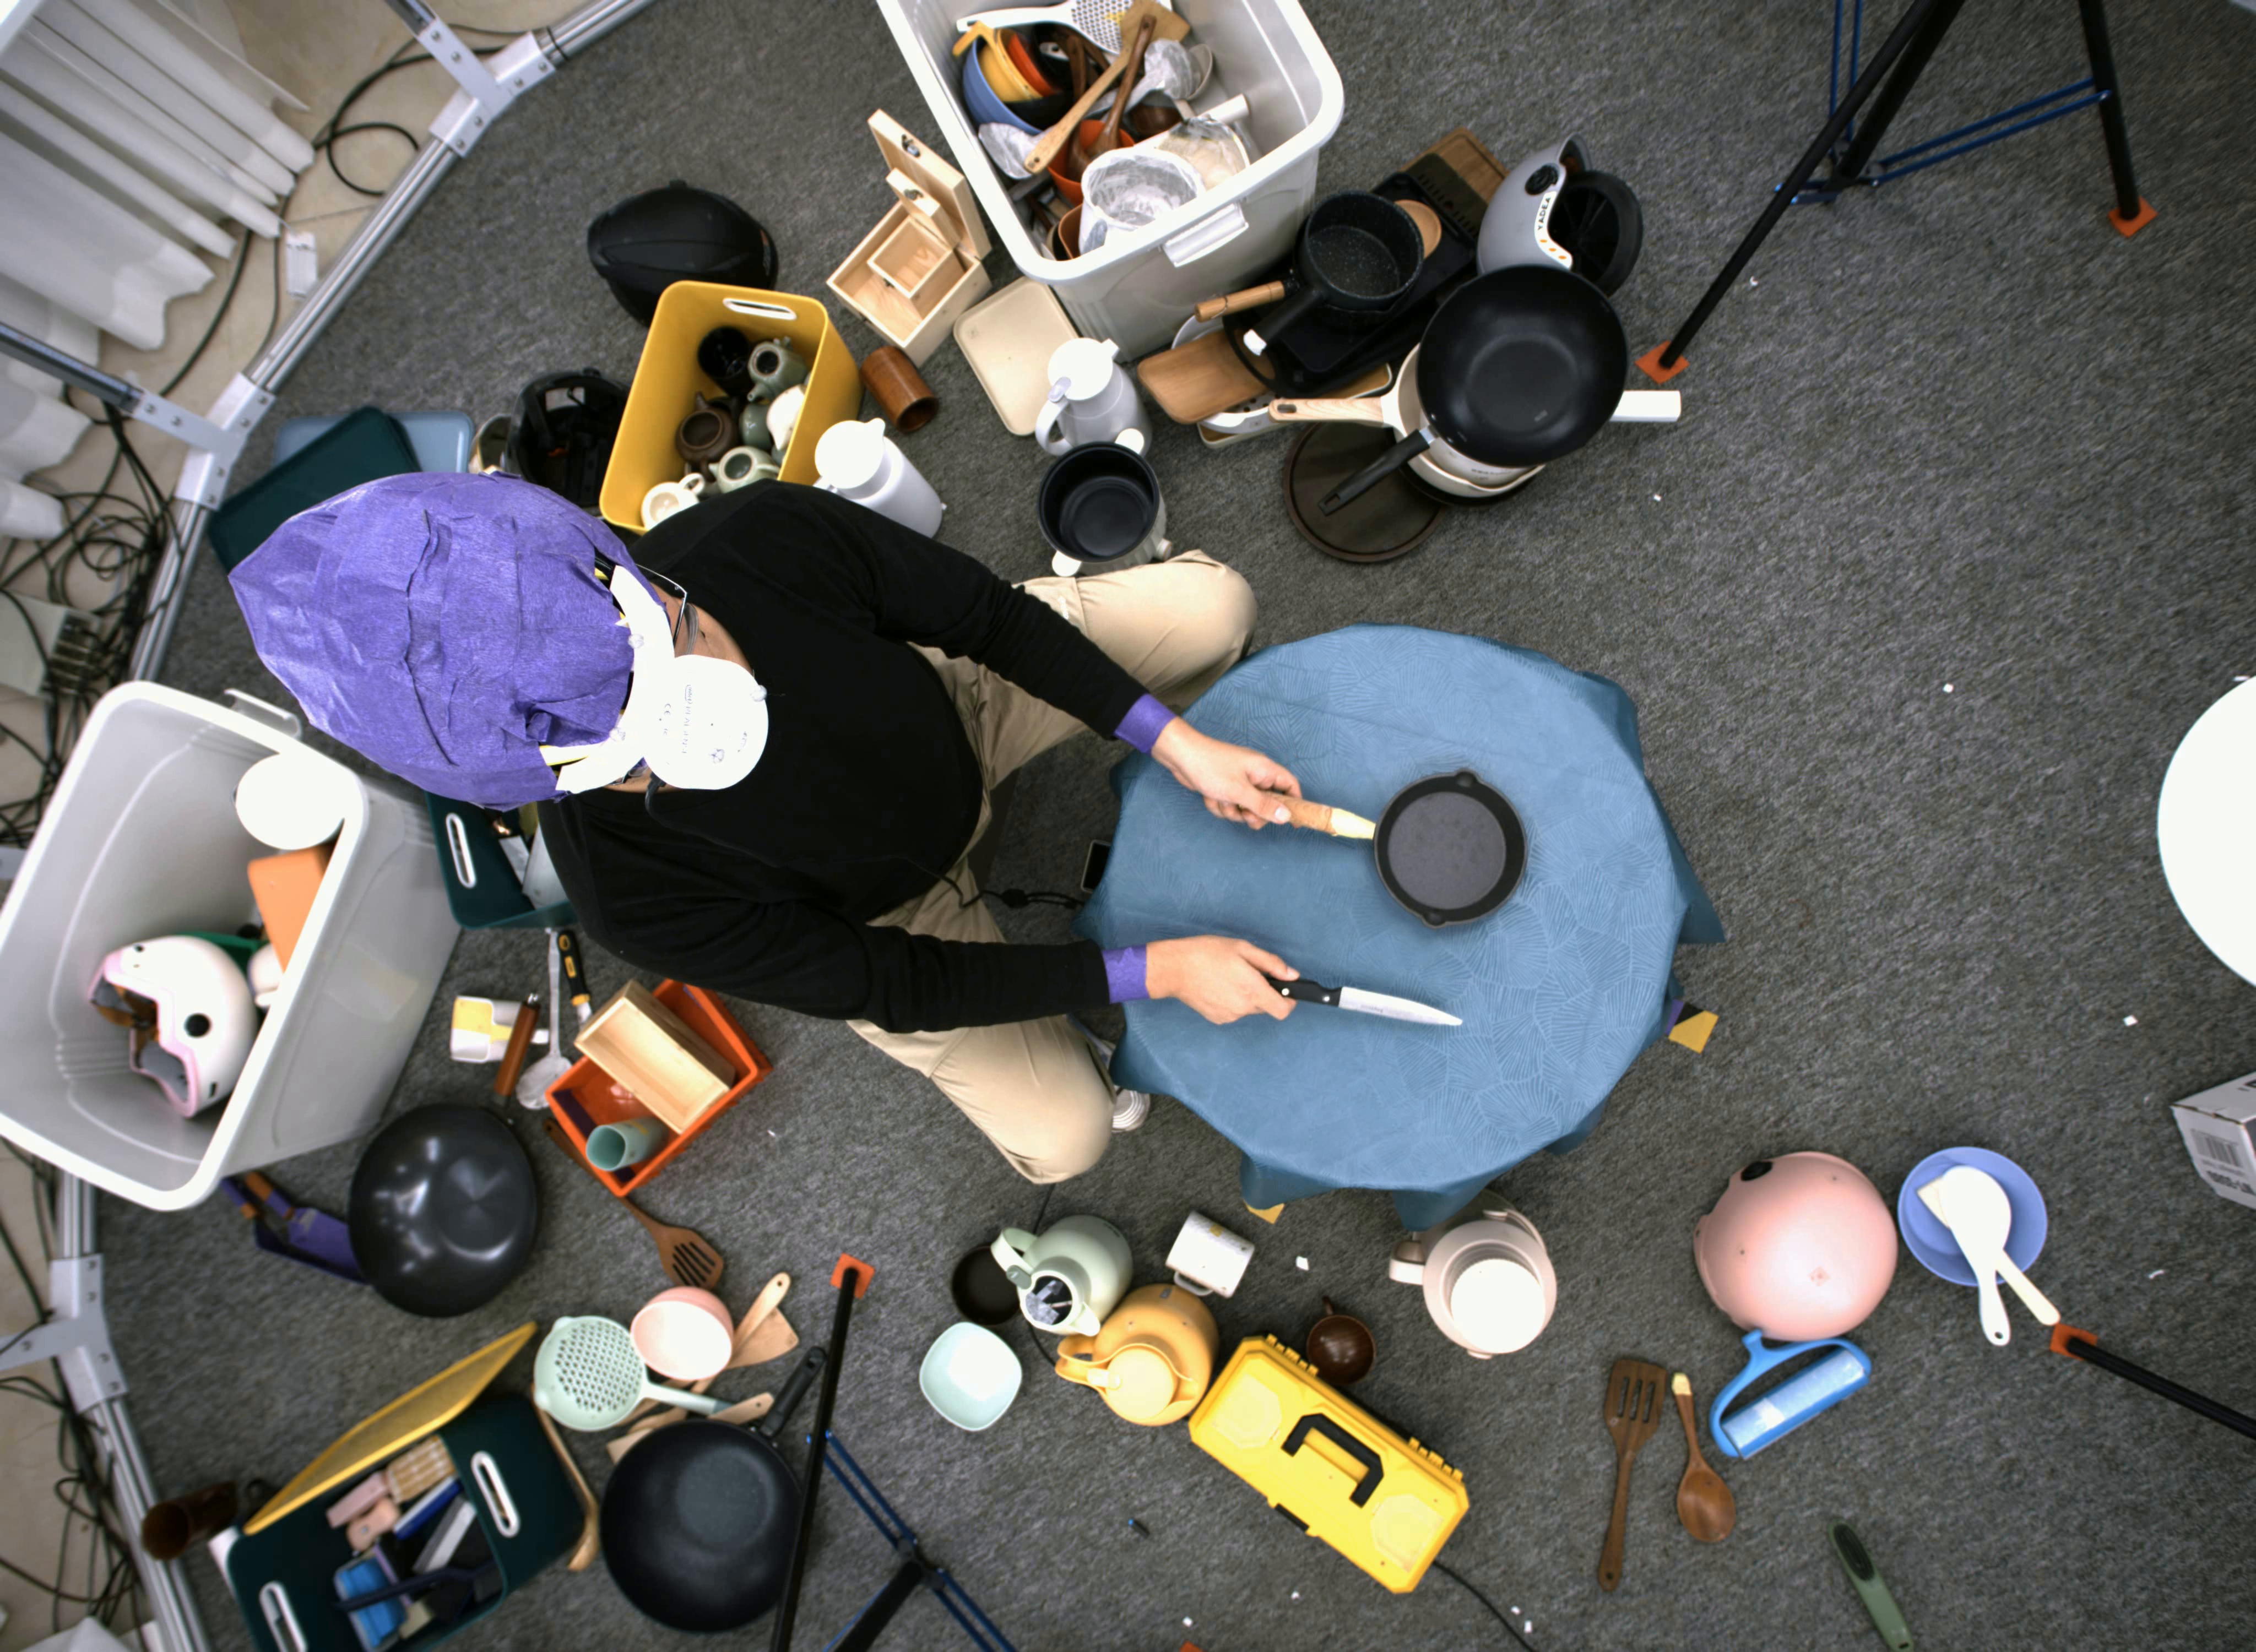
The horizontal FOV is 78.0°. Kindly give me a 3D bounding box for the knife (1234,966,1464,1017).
[{"bbox_3d":[0.226,0.173,1.420,0.238,0.016,0.025,9,105,7],"label":"knife"}]

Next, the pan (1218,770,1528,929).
[{"bbox_3d":[0.252,0.000,1.431,0.324,0.049,0.168,16,89,7],"label":"pan"}]
